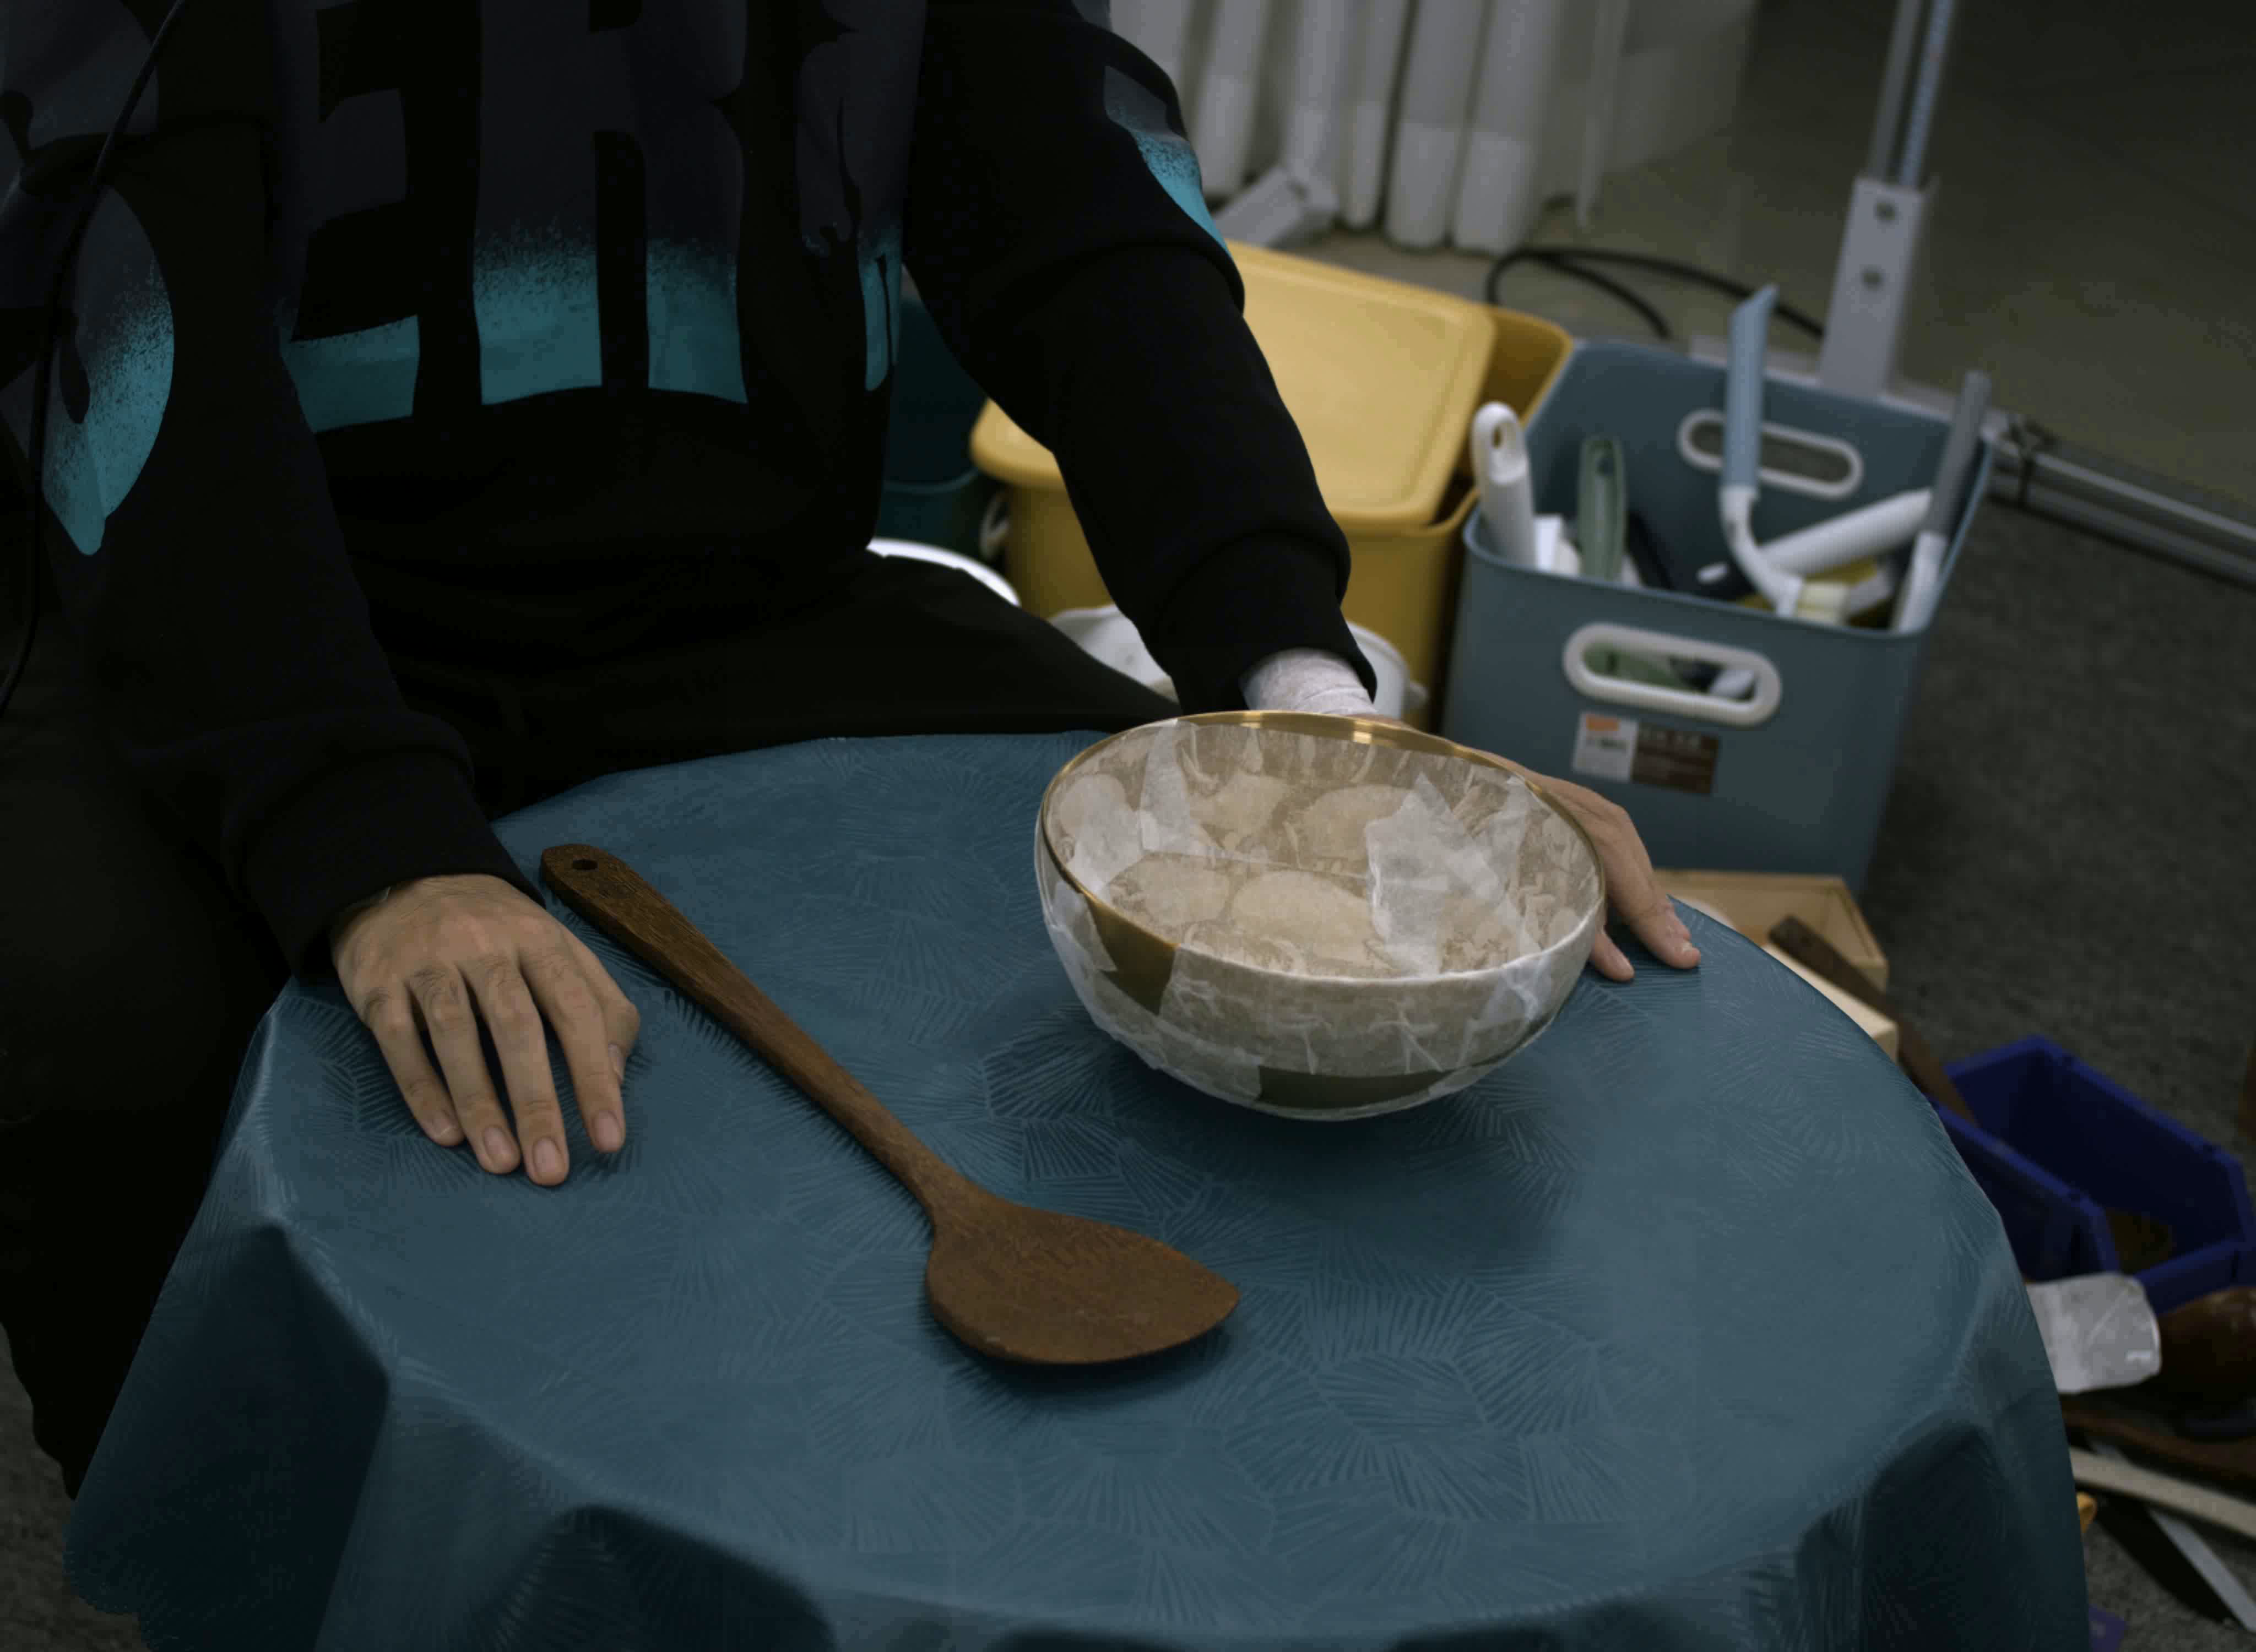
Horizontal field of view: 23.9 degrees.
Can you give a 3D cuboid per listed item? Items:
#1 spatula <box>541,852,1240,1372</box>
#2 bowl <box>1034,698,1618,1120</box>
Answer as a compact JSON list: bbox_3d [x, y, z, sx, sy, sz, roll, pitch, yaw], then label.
[{"bbox_3d":[-0.102,0.090,1.829,0.095,0.016,0.389,-12,32,-33],"label":"spatula"},{"bbox_3d":[0.066,0.042,1.873,0.214,0.094,0.216,4,27,-2],"label":"bowl"}]
